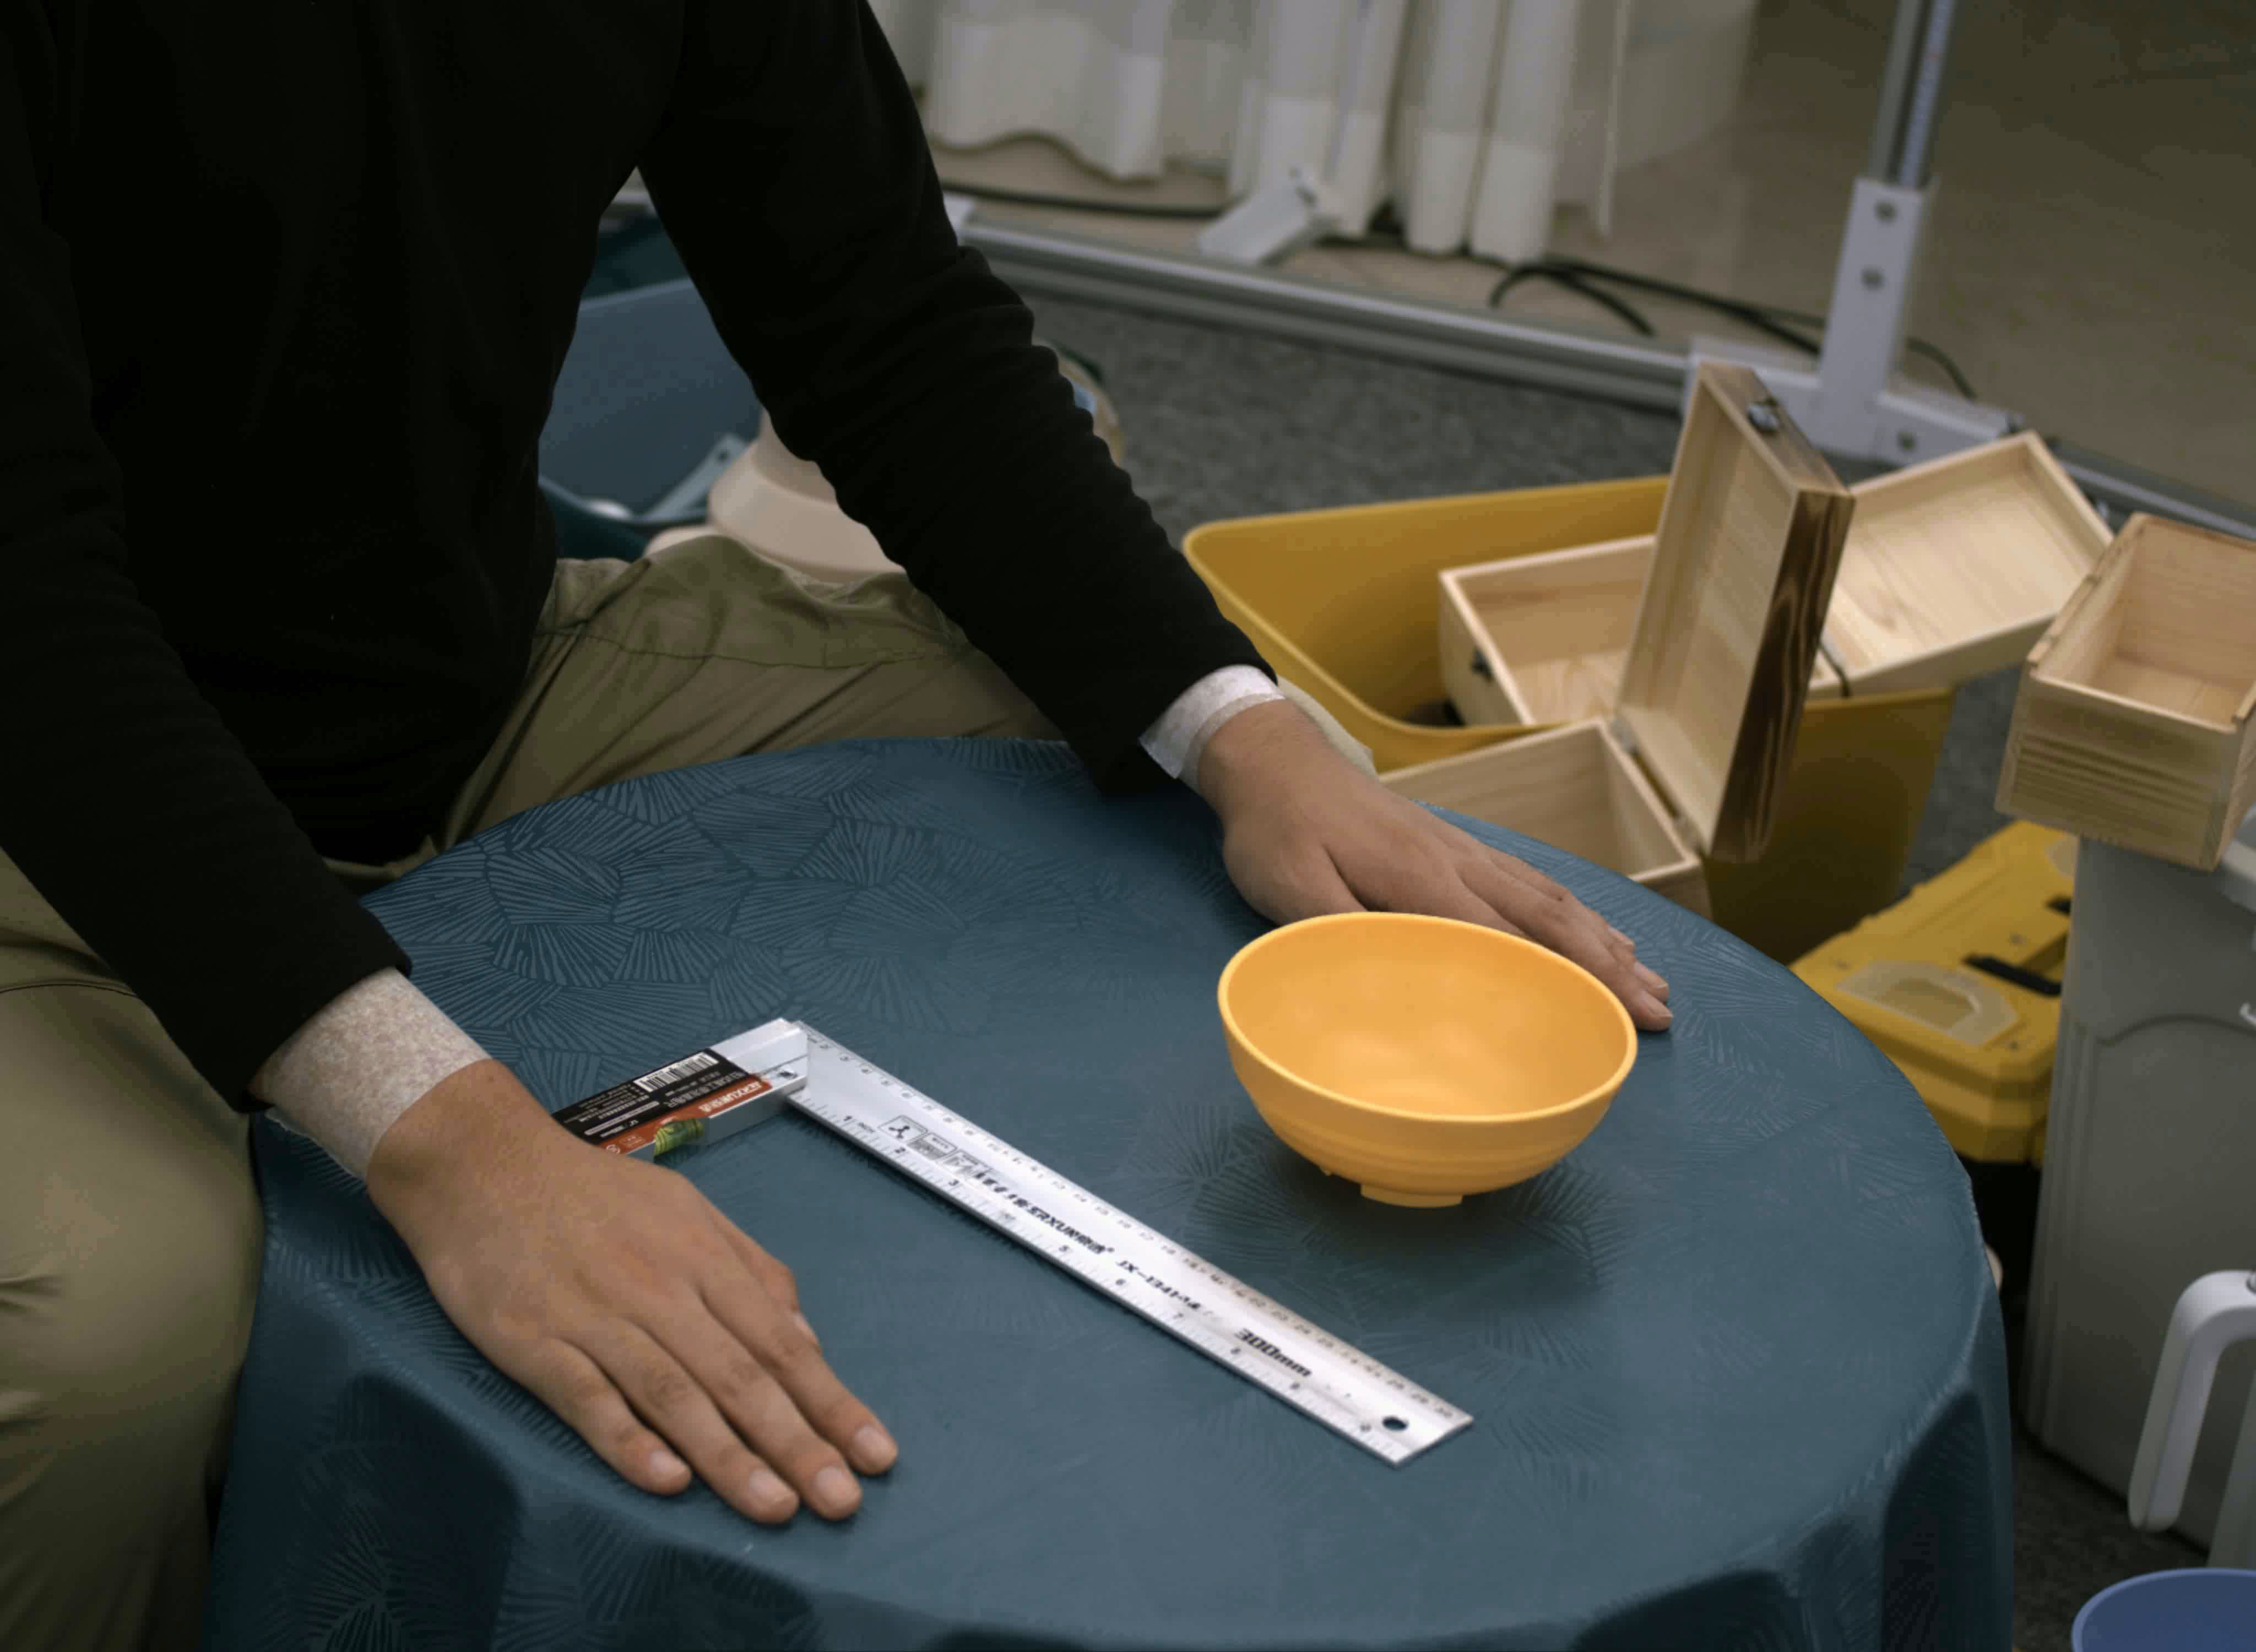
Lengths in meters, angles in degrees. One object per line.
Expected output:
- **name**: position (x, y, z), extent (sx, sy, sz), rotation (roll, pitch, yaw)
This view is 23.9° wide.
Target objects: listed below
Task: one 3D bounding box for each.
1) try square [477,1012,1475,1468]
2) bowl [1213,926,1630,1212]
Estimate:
- **try square**: position (-0.054, 0.152, 1.734), extent (0.315, 0.016, 0.152), rotation (28, 38, 34)
- **bowl**: position (0.097, 0.091, 1.827), extent (0.145, 0.060, 0.146), rotation (5, 24, -3)
